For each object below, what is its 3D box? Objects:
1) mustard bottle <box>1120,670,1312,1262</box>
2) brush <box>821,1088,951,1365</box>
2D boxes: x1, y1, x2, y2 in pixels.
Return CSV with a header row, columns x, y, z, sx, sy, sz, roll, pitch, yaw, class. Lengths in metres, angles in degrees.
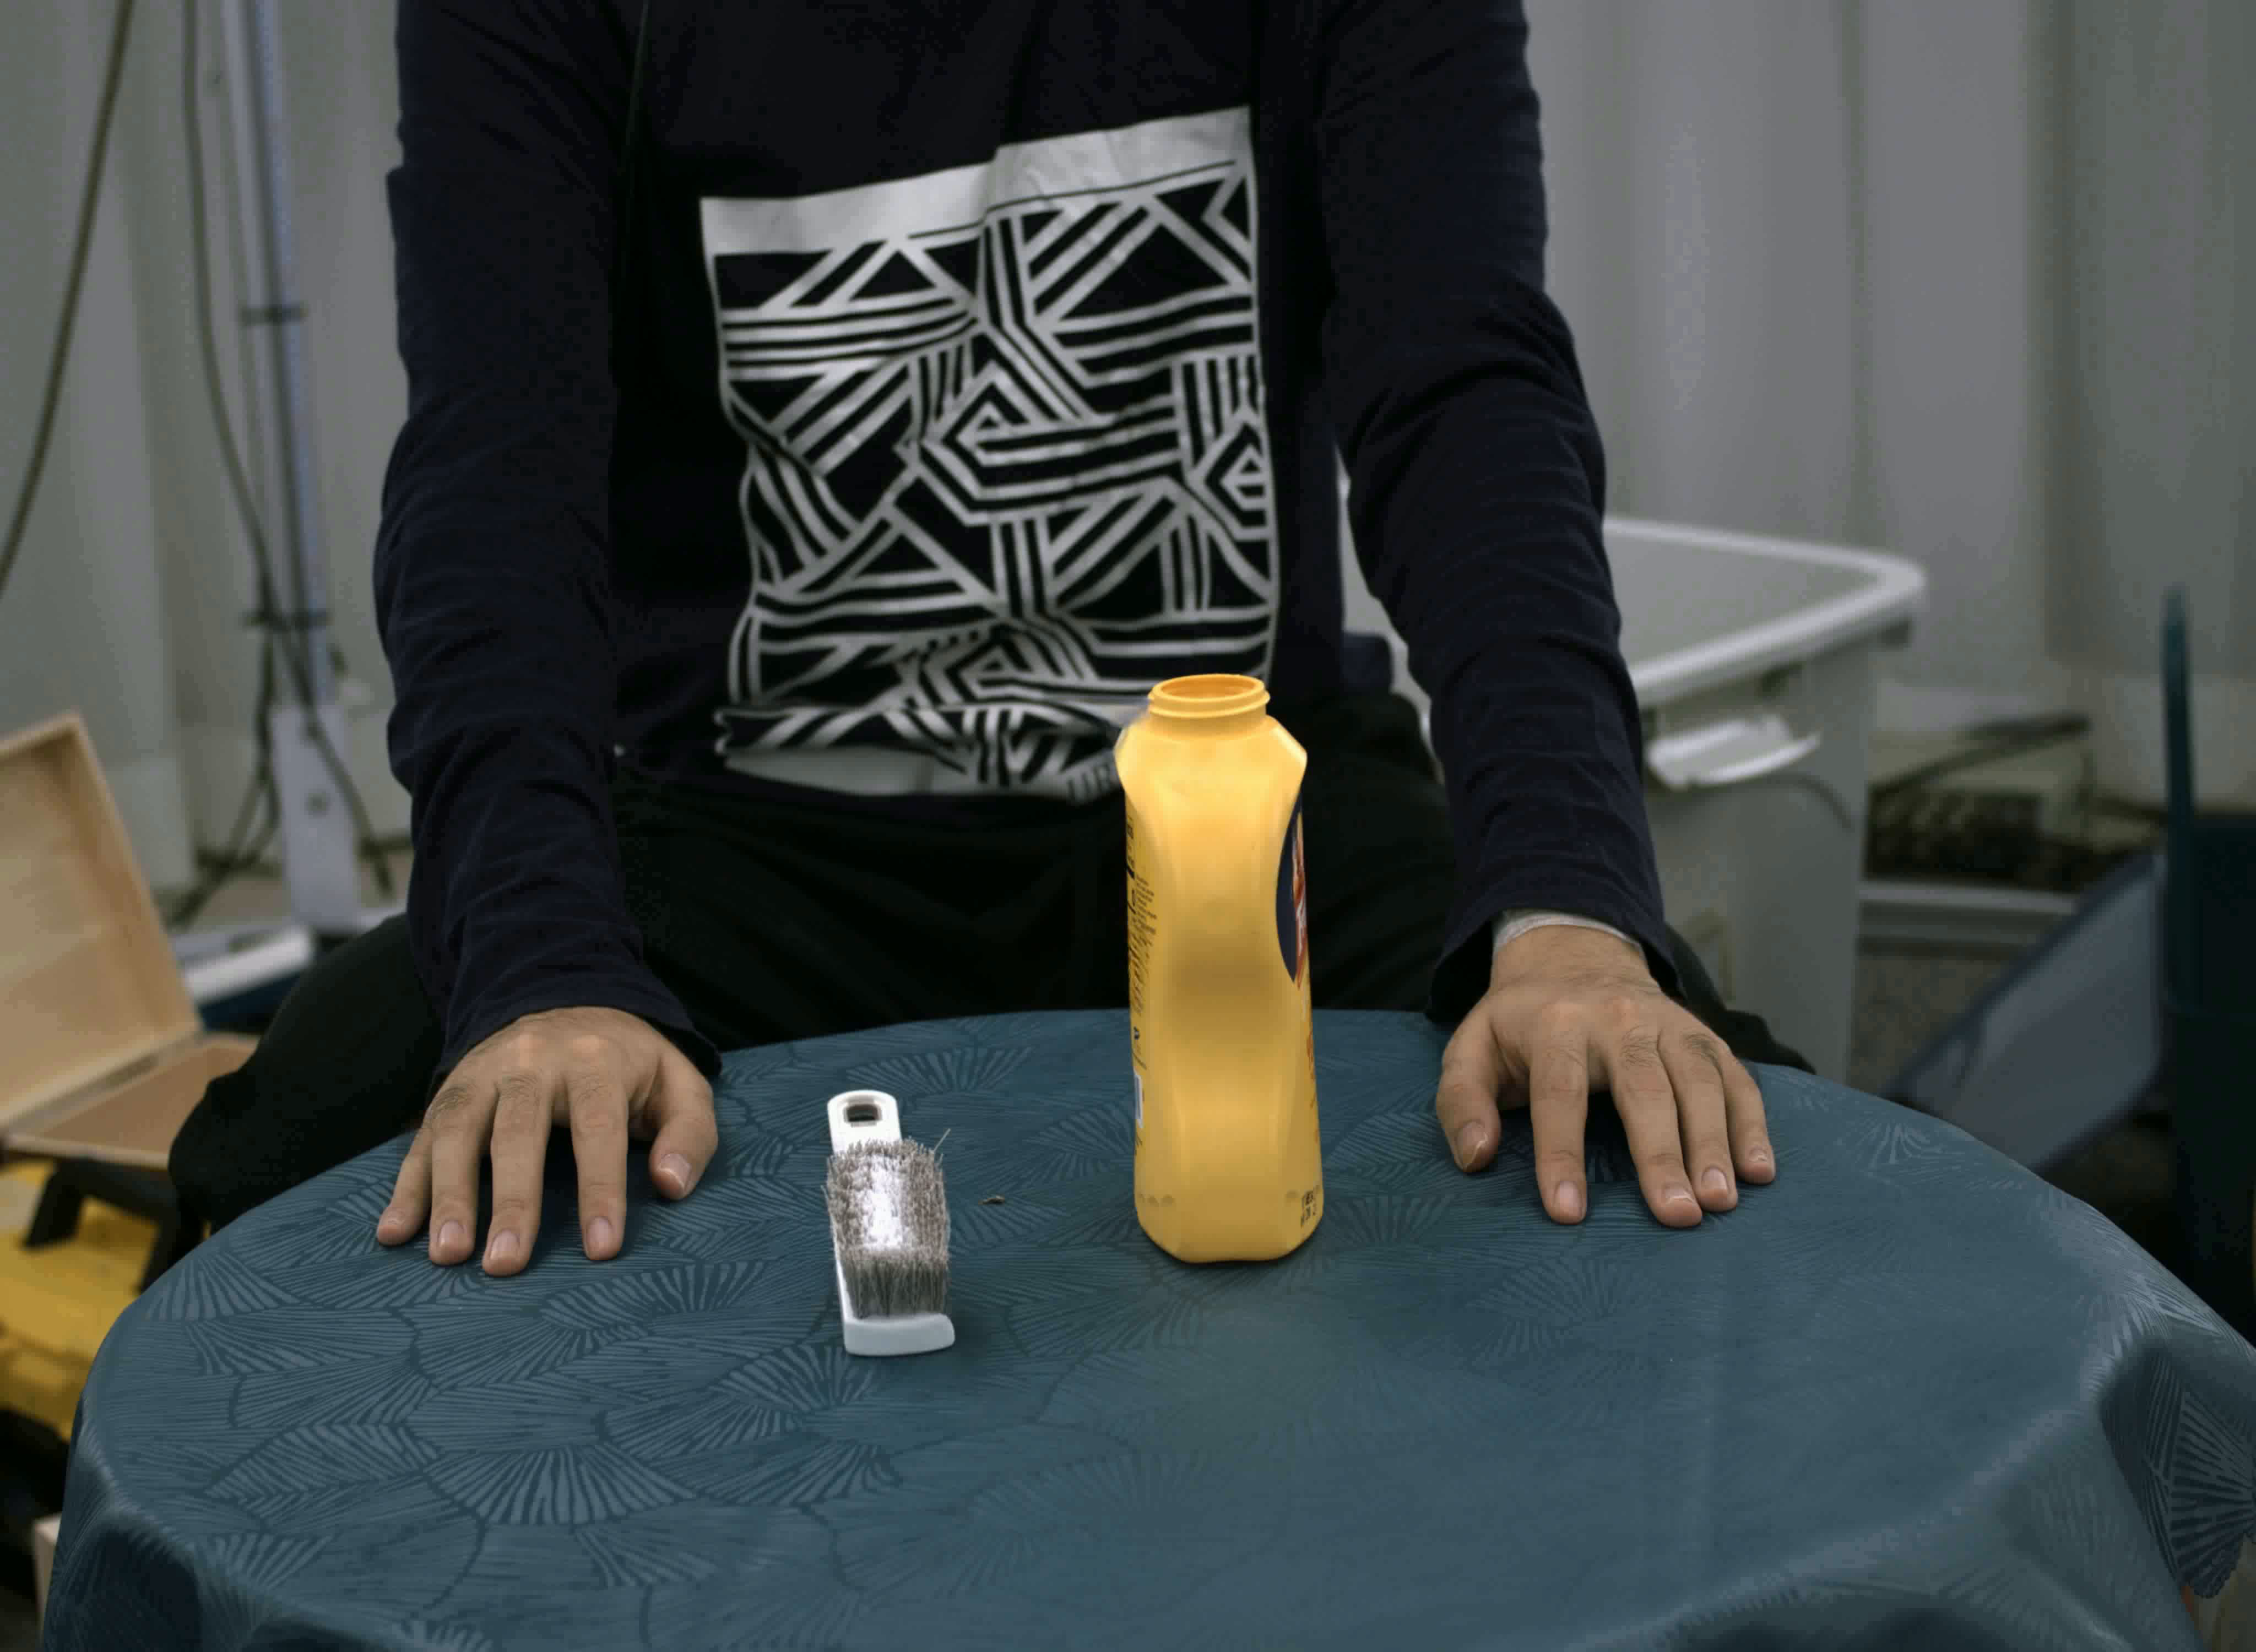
x,y,z,sx,sy,sz,roll,pitch,yaw,class
0.027,0.039,1.664,0.059,0.171,0.099,-1,12,-5,mustard bottle
-0.074,0.103,1.681,0.034,0.050,0.245,-7,15,0,brush
